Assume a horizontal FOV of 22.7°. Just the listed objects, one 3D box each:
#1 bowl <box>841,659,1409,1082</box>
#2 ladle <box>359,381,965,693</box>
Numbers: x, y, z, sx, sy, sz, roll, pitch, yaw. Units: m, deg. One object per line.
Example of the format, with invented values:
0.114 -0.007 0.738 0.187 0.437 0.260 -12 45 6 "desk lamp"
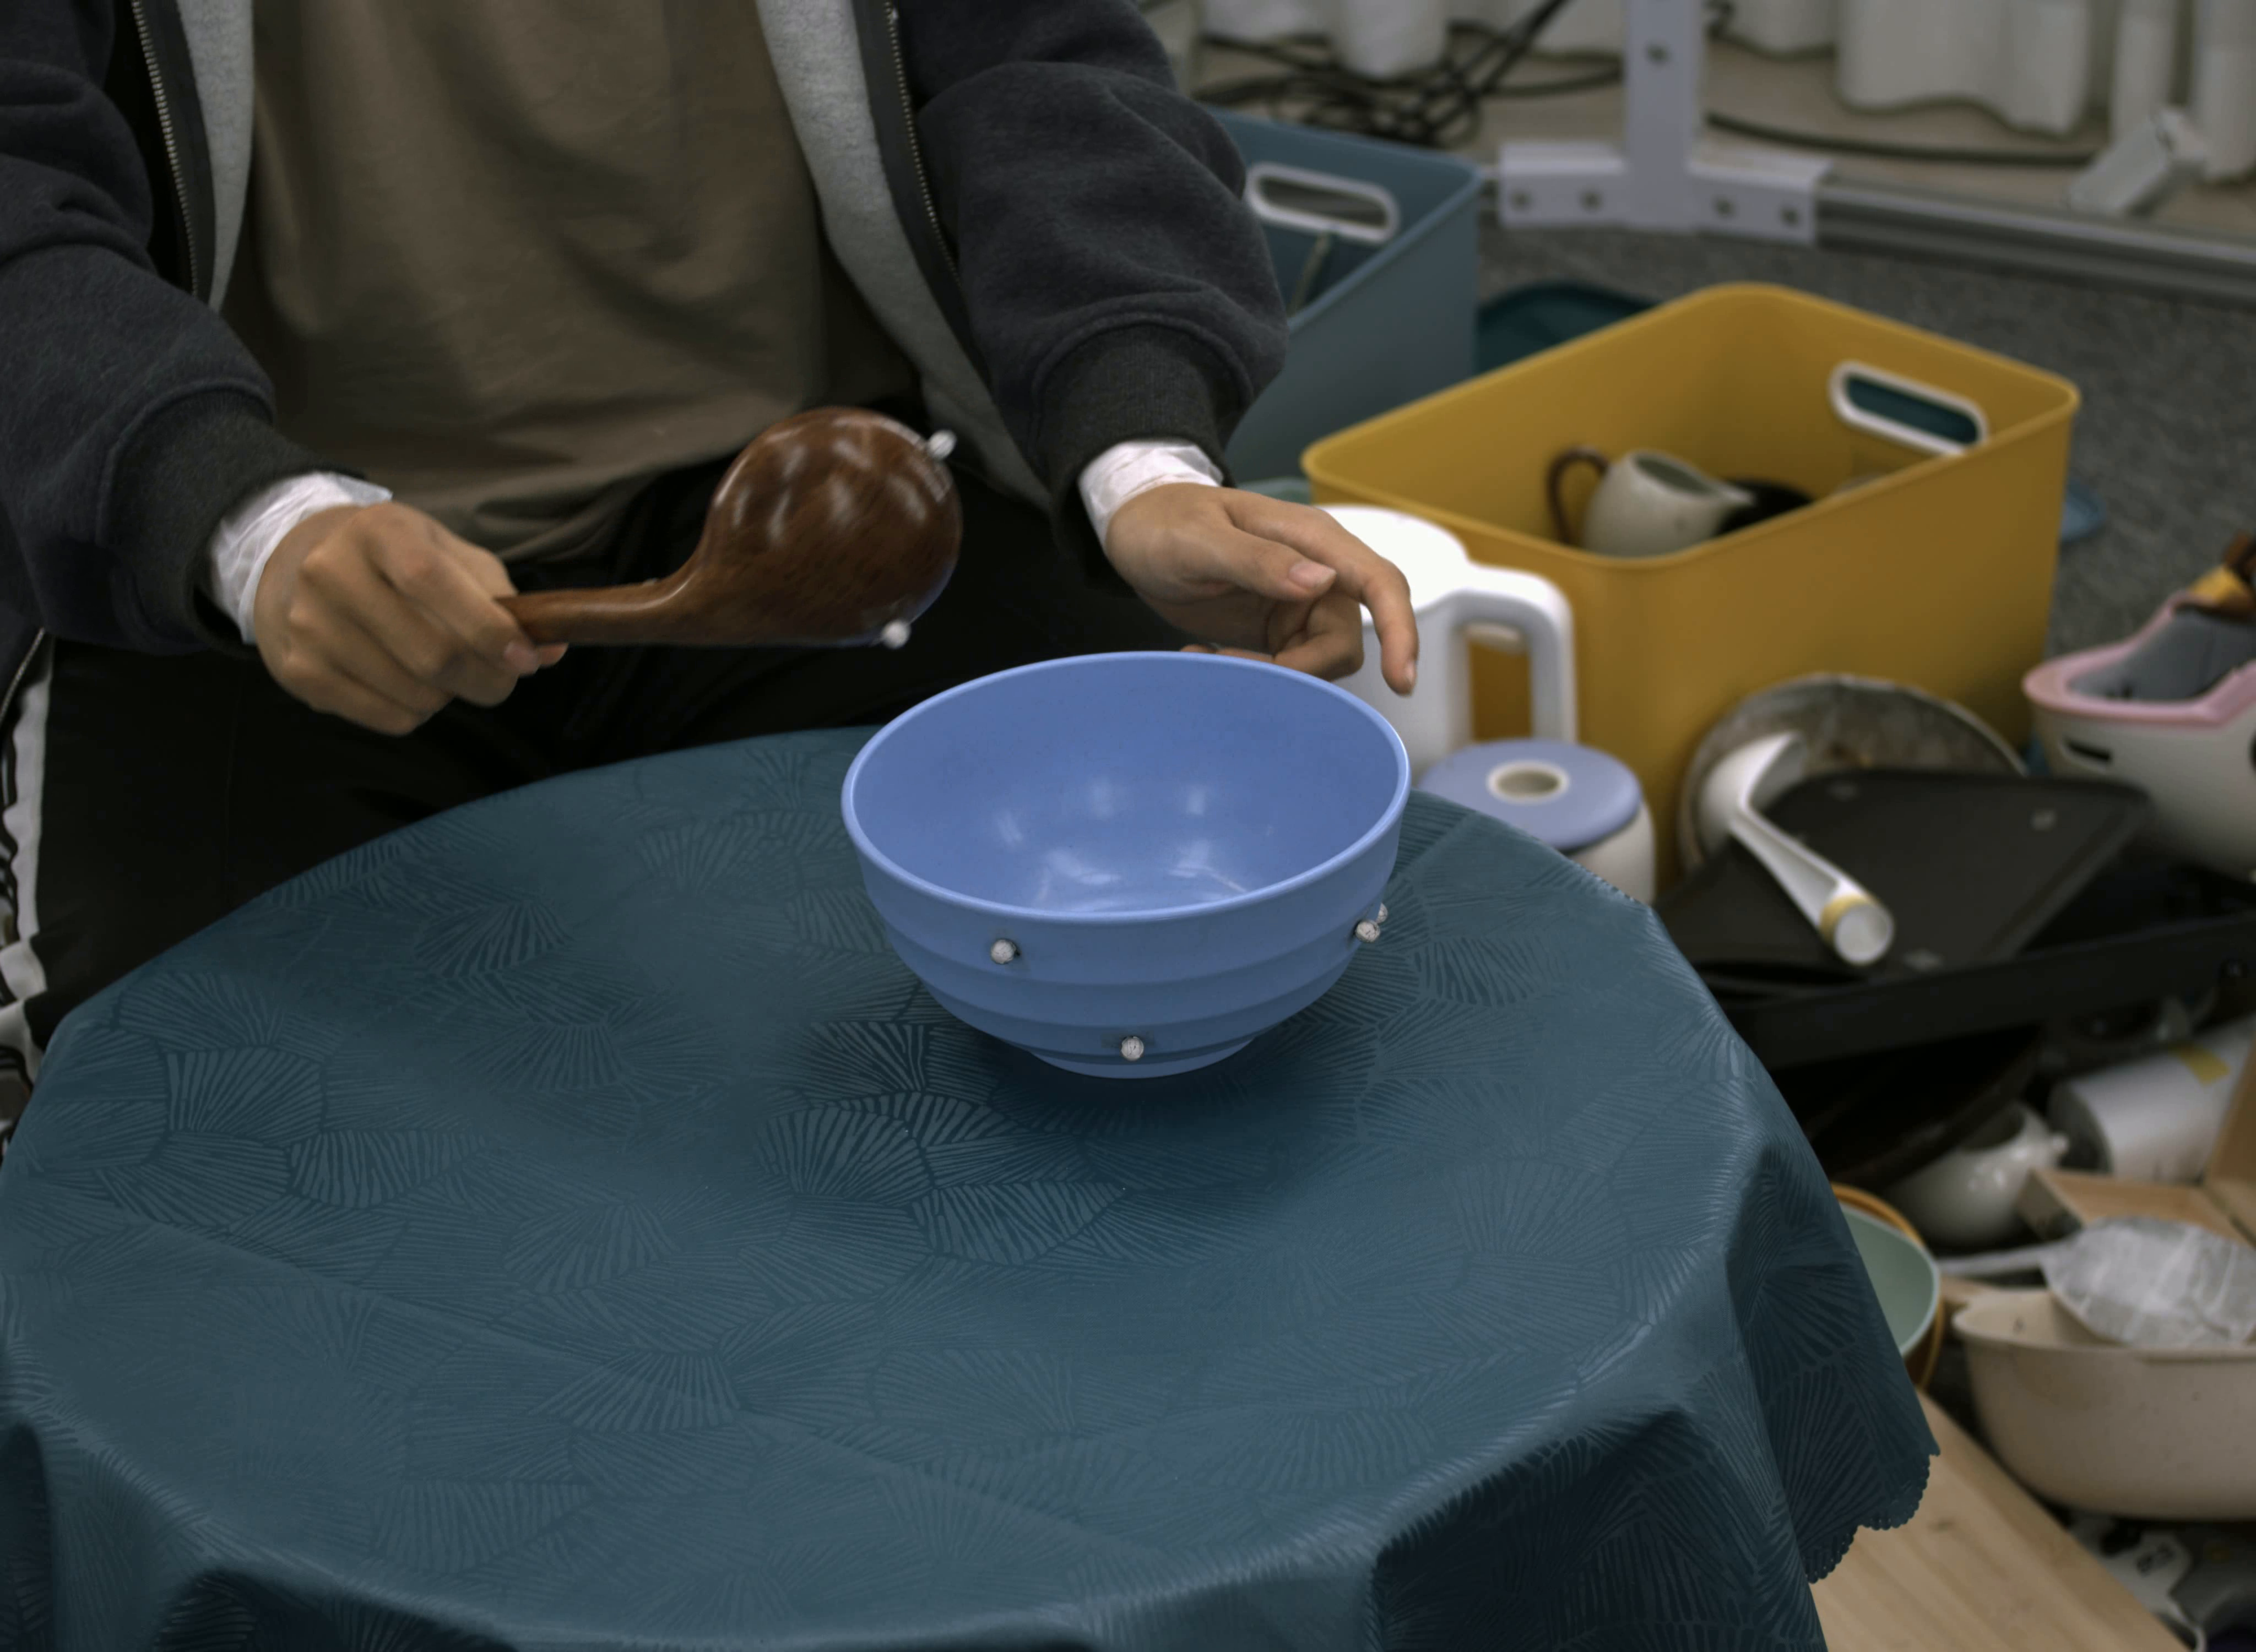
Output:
0.002 0.025 1.947 0.195 0.094 0.199 -3 26 2 "bowl"
-0.160 -0.092 1.869 0.271 0.081 0.078 -7 39 49 "ladle"
